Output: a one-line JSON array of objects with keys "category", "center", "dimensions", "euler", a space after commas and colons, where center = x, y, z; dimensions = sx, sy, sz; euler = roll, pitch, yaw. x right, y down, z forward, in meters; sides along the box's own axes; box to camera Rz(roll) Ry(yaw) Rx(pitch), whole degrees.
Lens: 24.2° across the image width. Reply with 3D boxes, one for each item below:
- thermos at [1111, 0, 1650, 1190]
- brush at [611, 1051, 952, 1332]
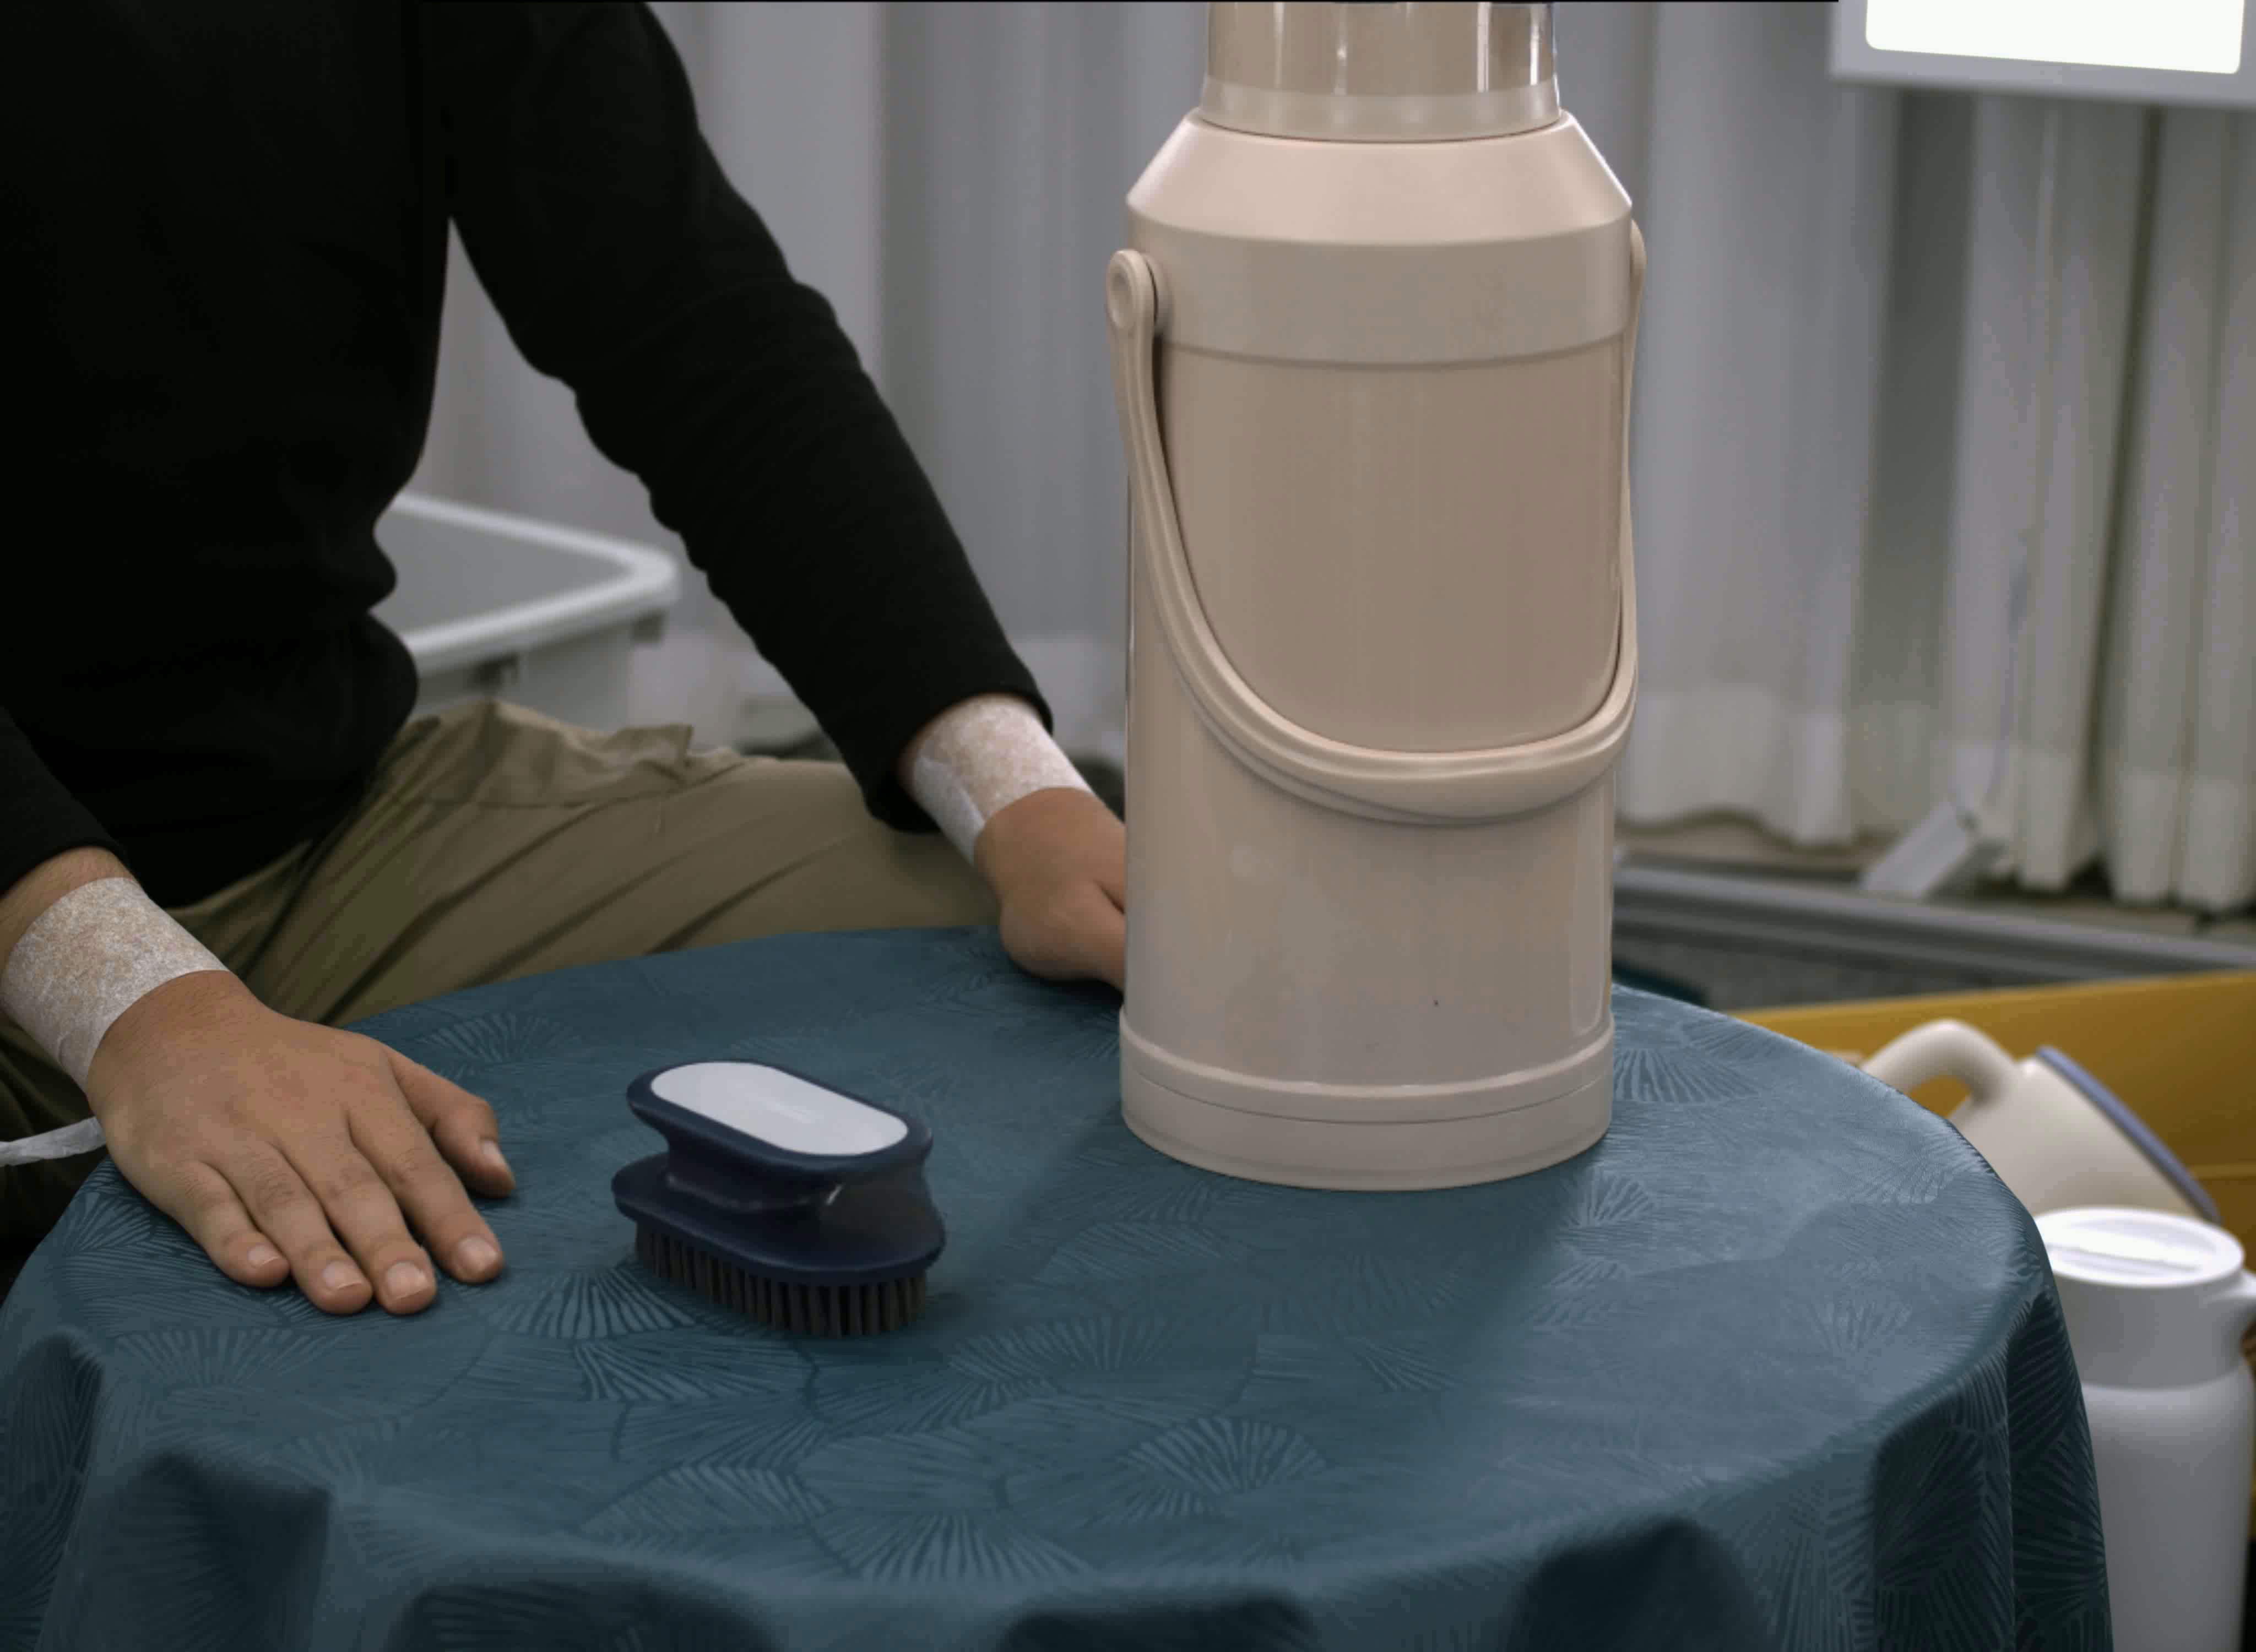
[{"category": "thermos", "center": [0.074, -0.103, 1.655], "dimensions": [0.176, 0.410, 0.204], "euler": [-9, 19, -24]}, {"category": "brush", "center": [-0.101, 0.108, 1.531], "dimensions": [0.068, 0.061, 0.120], "euler": [-9, 19, -38]}]
